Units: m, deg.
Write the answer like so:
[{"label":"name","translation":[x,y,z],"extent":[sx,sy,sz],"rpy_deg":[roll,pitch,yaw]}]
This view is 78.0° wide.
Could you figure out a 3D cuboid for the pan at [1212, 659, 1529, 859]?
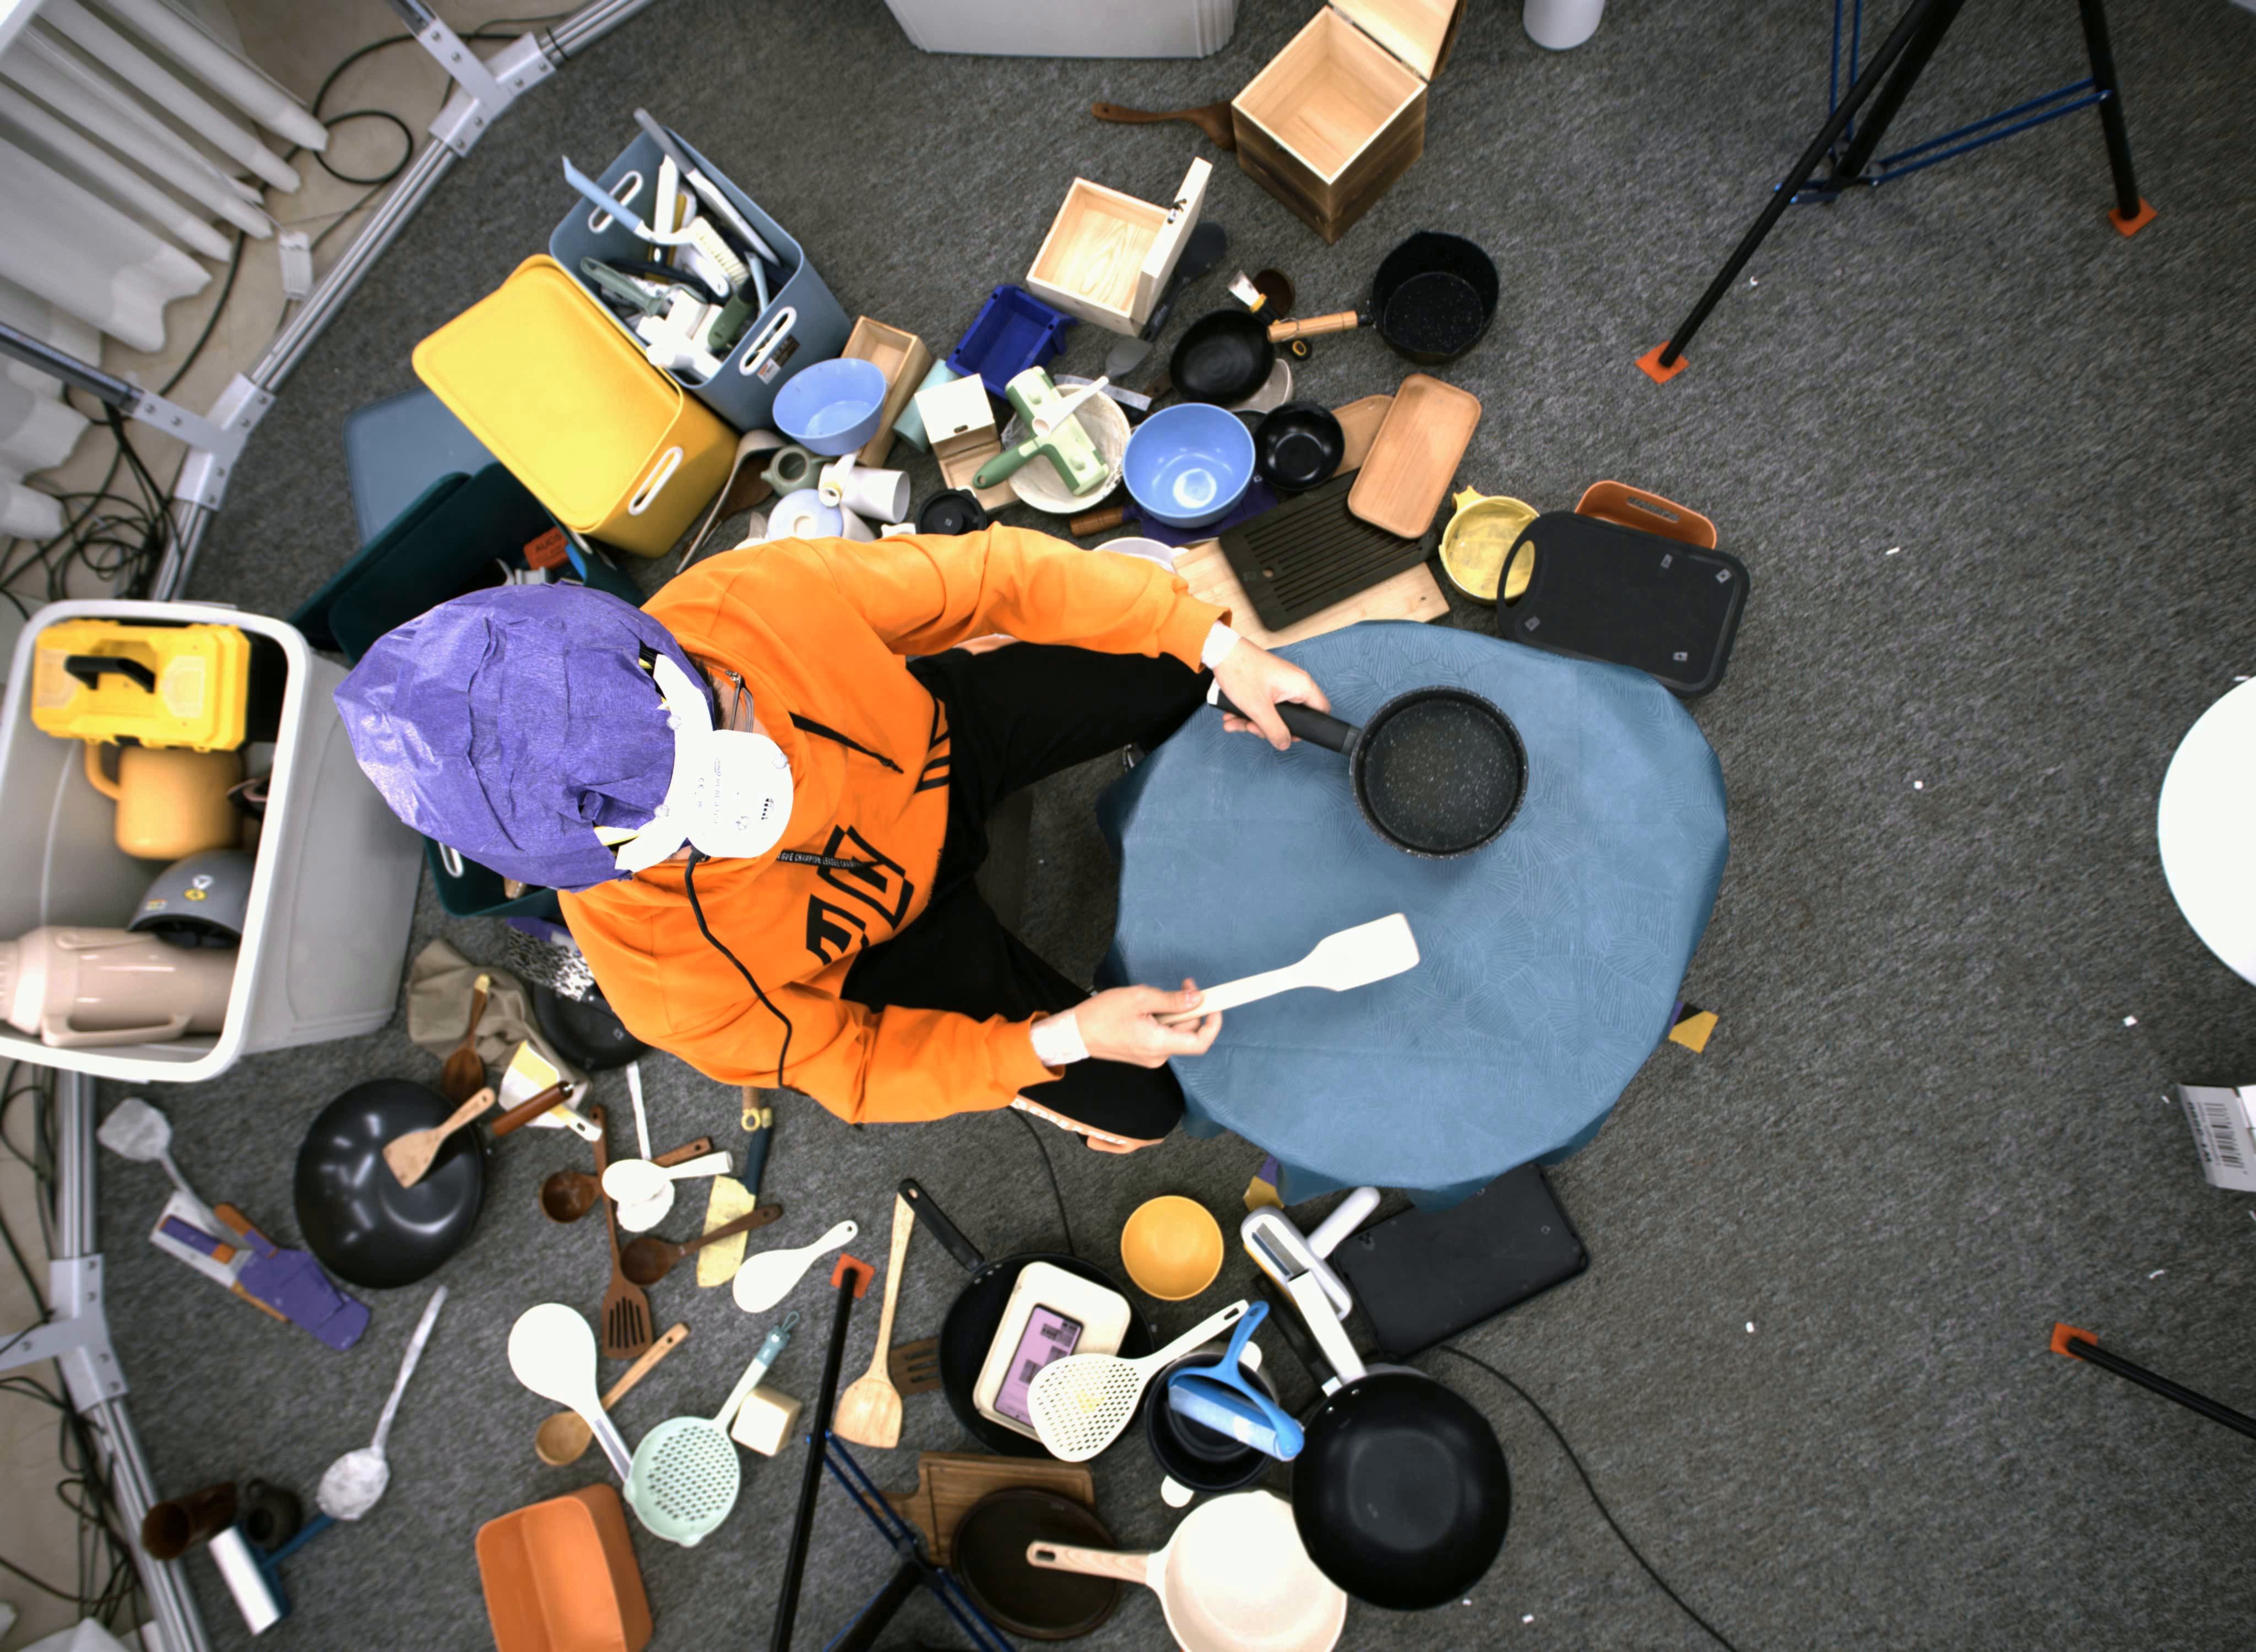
[{"label":"pan","translation":[0.241,-0.087,1.391],"extent":[0.328,0.086,0.173],"rpy_deg":[25,98,11]}]

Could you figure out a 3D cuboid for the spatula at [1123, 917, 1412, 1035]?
[{"label":"spatula","translation":[0.135,0.158,1.379],"extent":[0.294,0.011,0.070],"rpy_deg":[-18,47,8]}]
